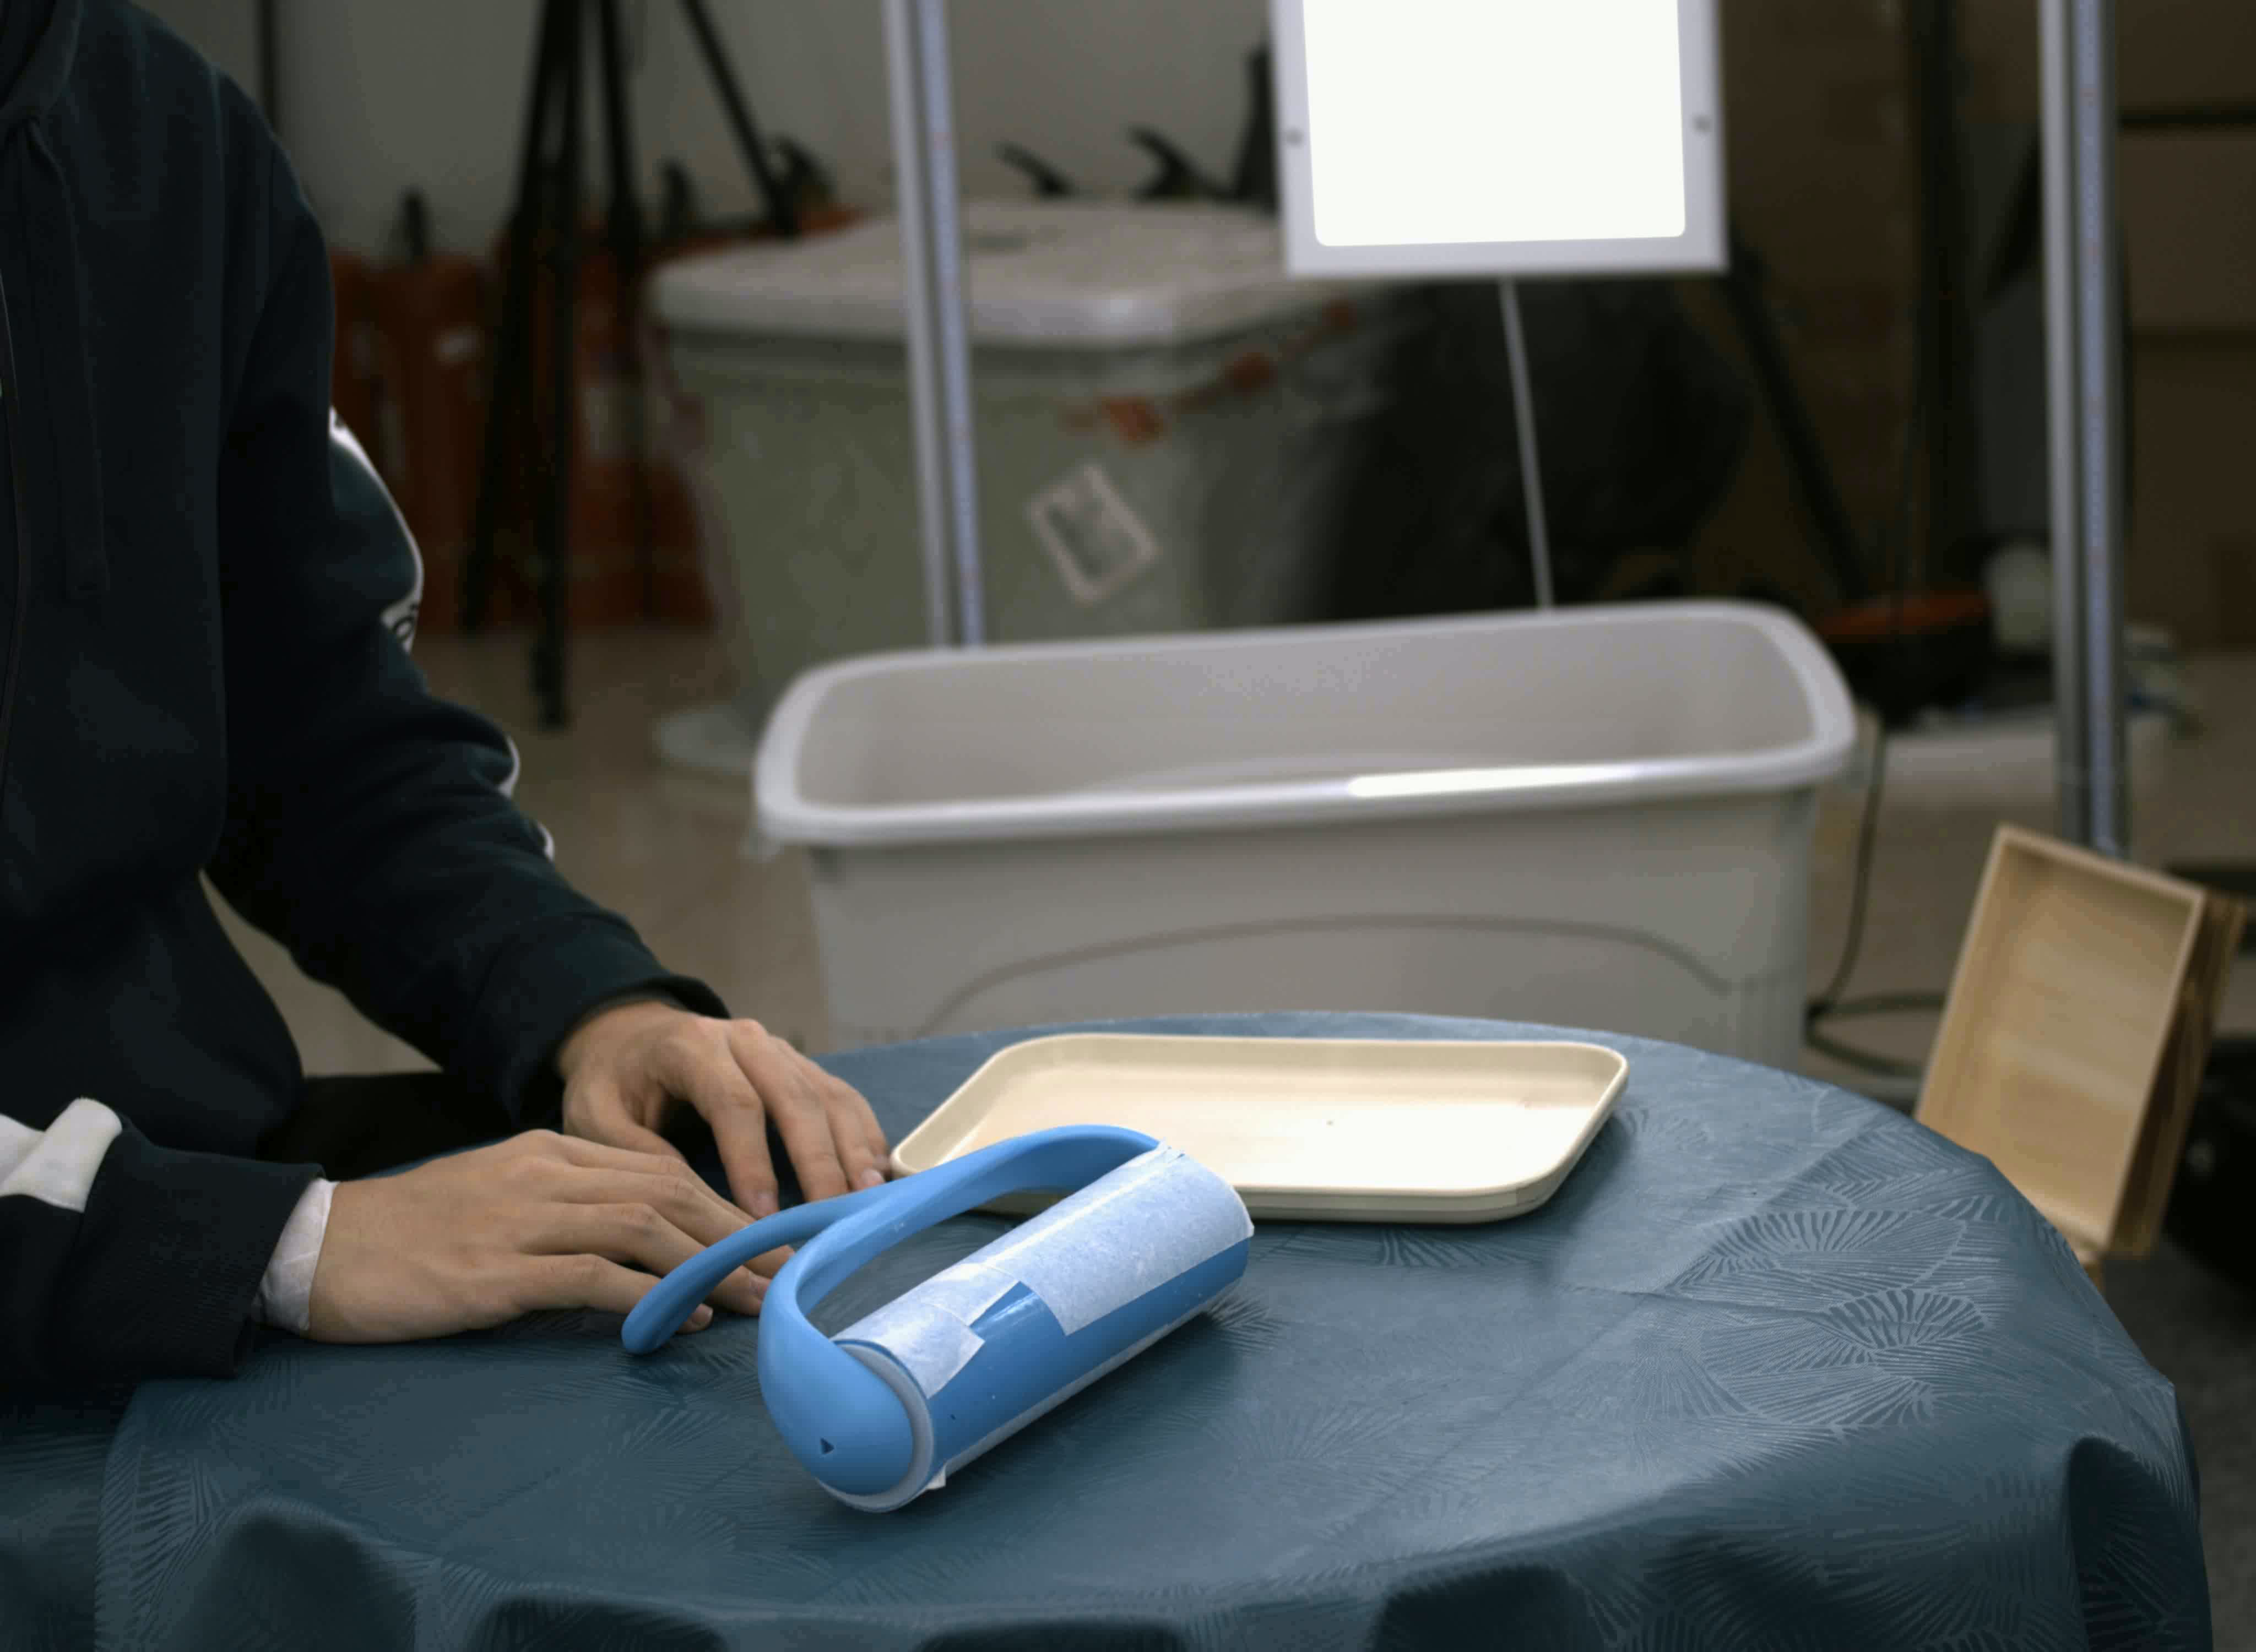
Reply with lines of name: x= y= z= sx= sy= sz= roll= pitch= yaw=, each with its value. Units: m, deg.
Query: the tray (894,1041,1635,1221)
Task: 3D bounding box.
tray: x=0.050 y=0.107 z=1.921 sx=0.243 sy=0.017 sz=0.168 roll=0 pitch=14 yaw=20

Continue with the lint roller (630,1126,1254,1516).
lint roller: x=-0.082 y=0.148 z=1.719 sx=0.183 sy=0.068 sz=0.224 roll=4 pitch=18 yaw=28
